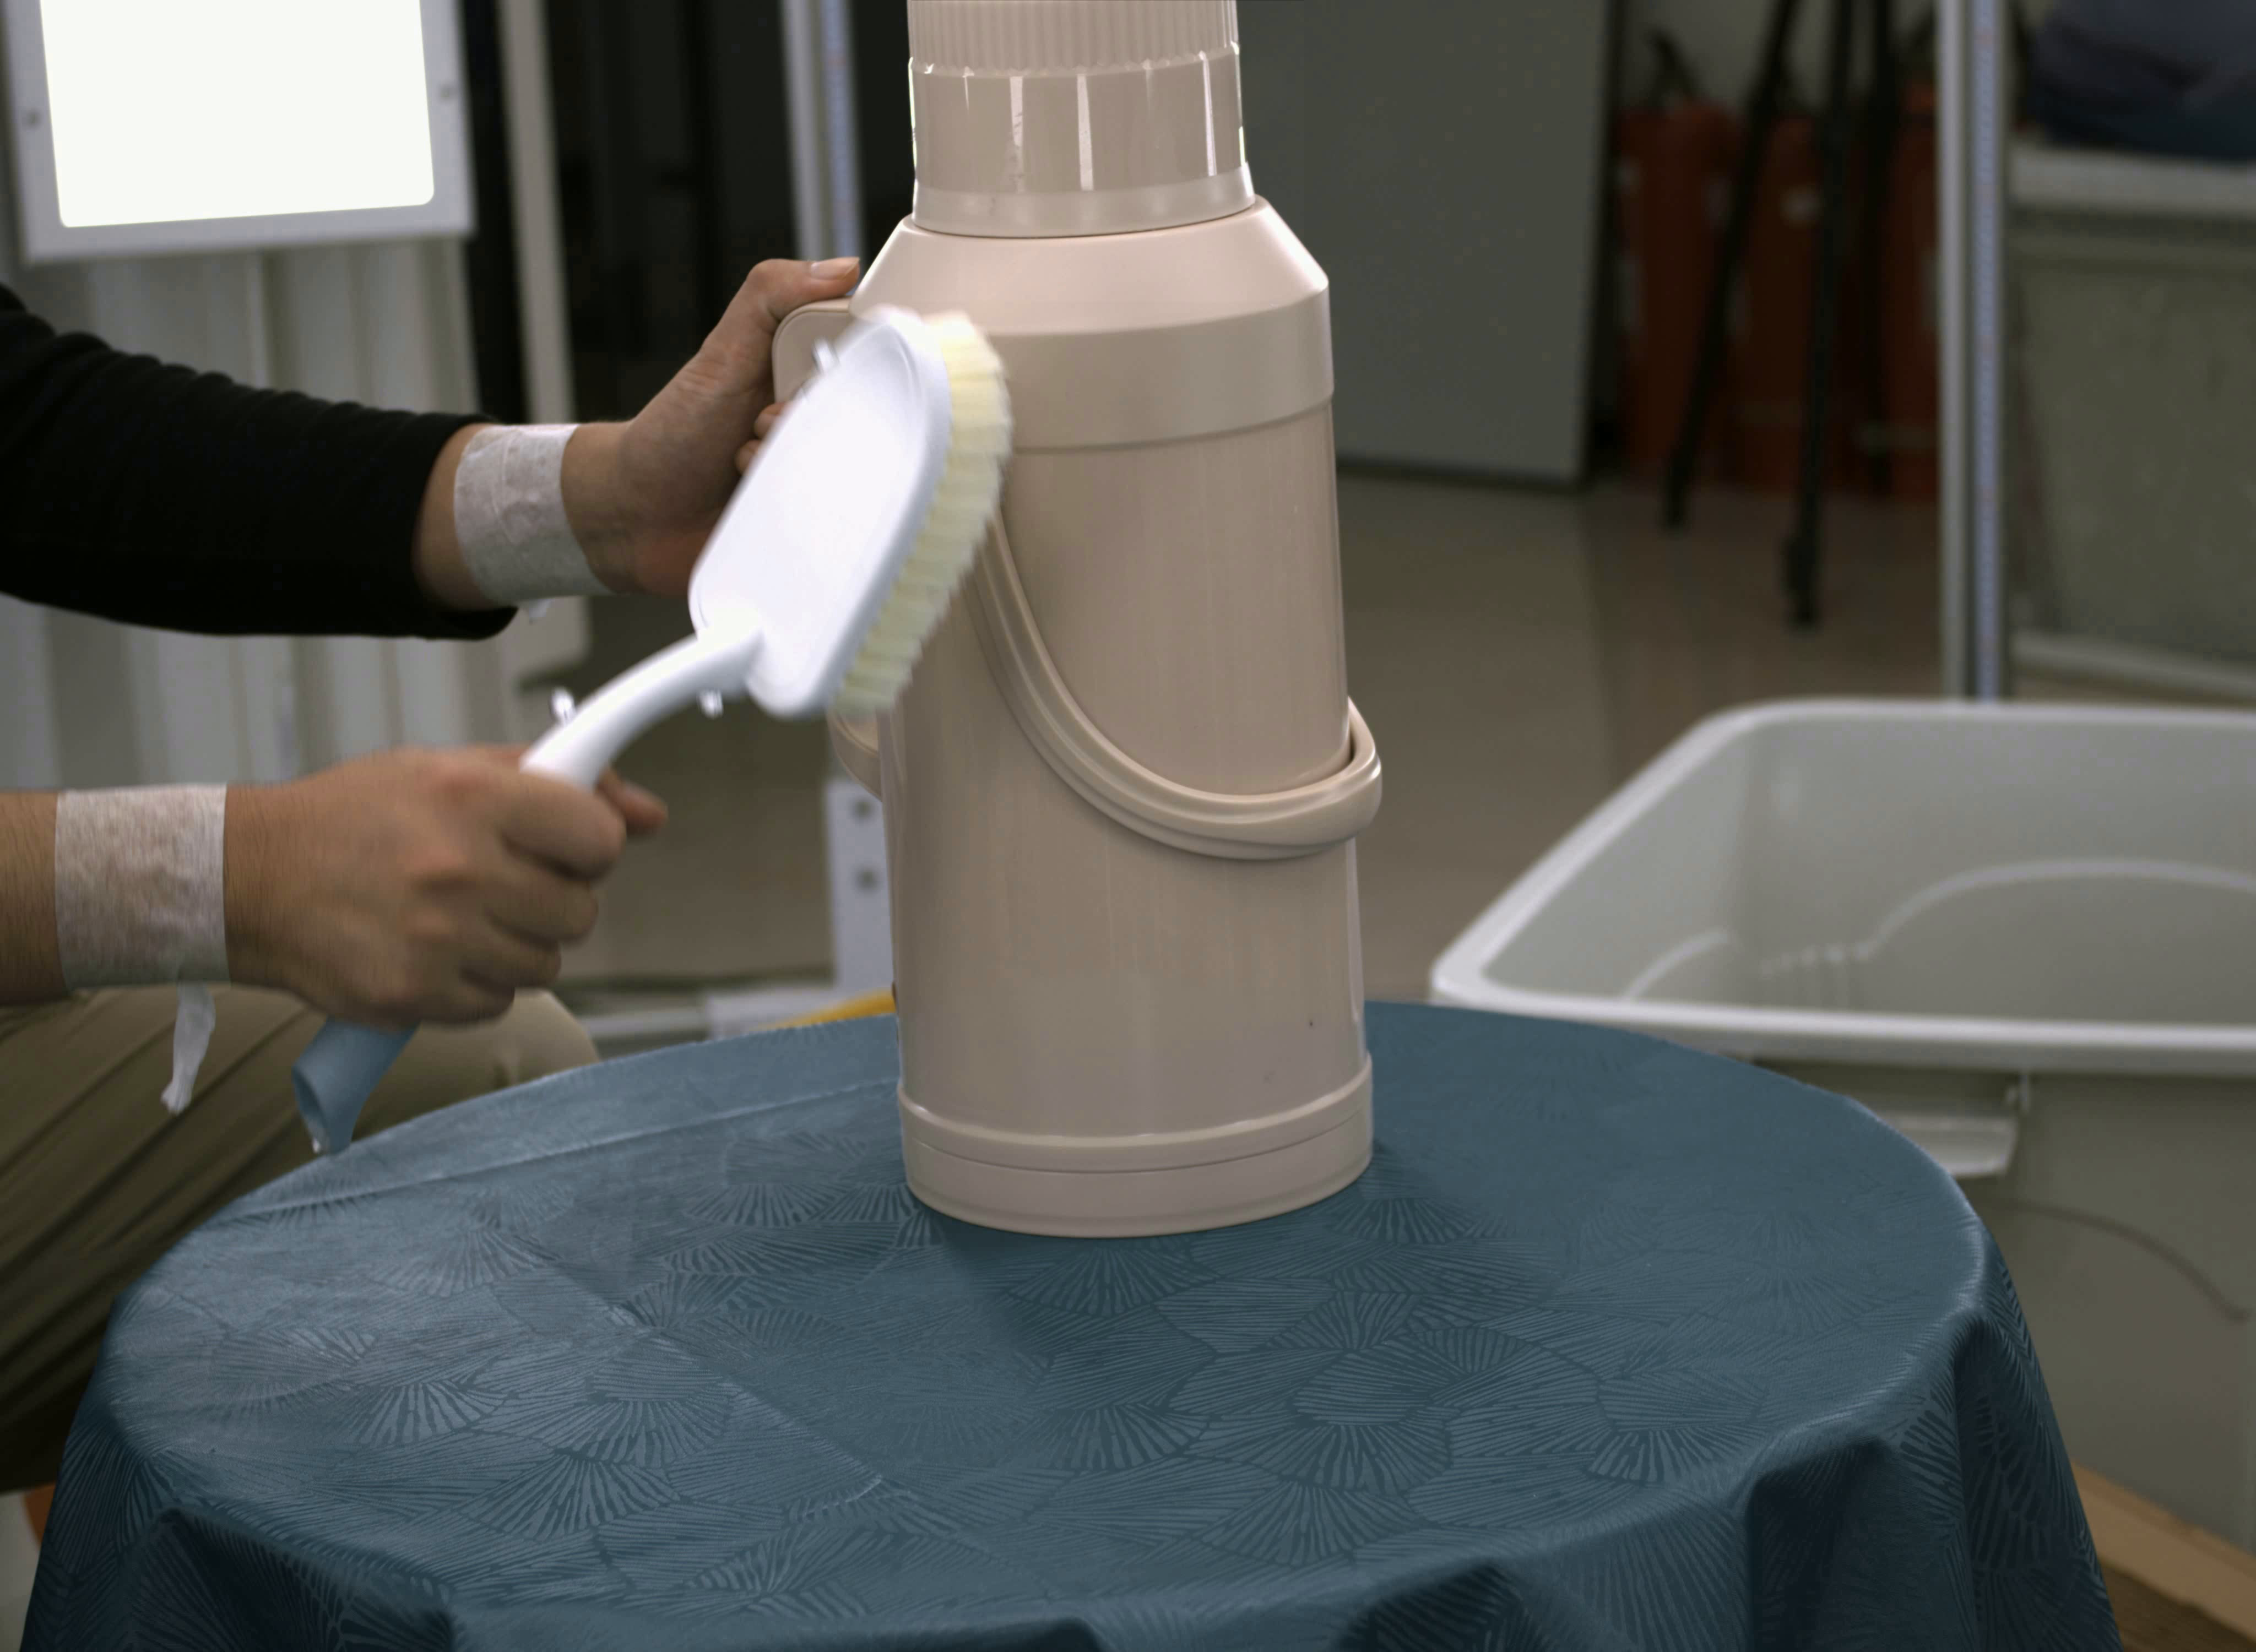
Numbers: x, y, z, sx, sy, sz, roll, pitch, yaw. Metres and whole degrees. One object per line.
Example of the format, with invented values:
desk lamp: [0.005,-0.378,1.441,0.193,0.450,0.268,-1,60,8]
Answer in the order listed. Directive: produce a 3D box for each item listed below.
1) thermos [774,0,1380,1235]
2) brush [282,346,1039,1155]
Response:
thermos: [-0.019,-0.082,1.765,0.208,0.410,0.173,4,17,30]
brush: [-0.136,-0.016,1.651,0.084,0.327,0.083,37,15,-15]
